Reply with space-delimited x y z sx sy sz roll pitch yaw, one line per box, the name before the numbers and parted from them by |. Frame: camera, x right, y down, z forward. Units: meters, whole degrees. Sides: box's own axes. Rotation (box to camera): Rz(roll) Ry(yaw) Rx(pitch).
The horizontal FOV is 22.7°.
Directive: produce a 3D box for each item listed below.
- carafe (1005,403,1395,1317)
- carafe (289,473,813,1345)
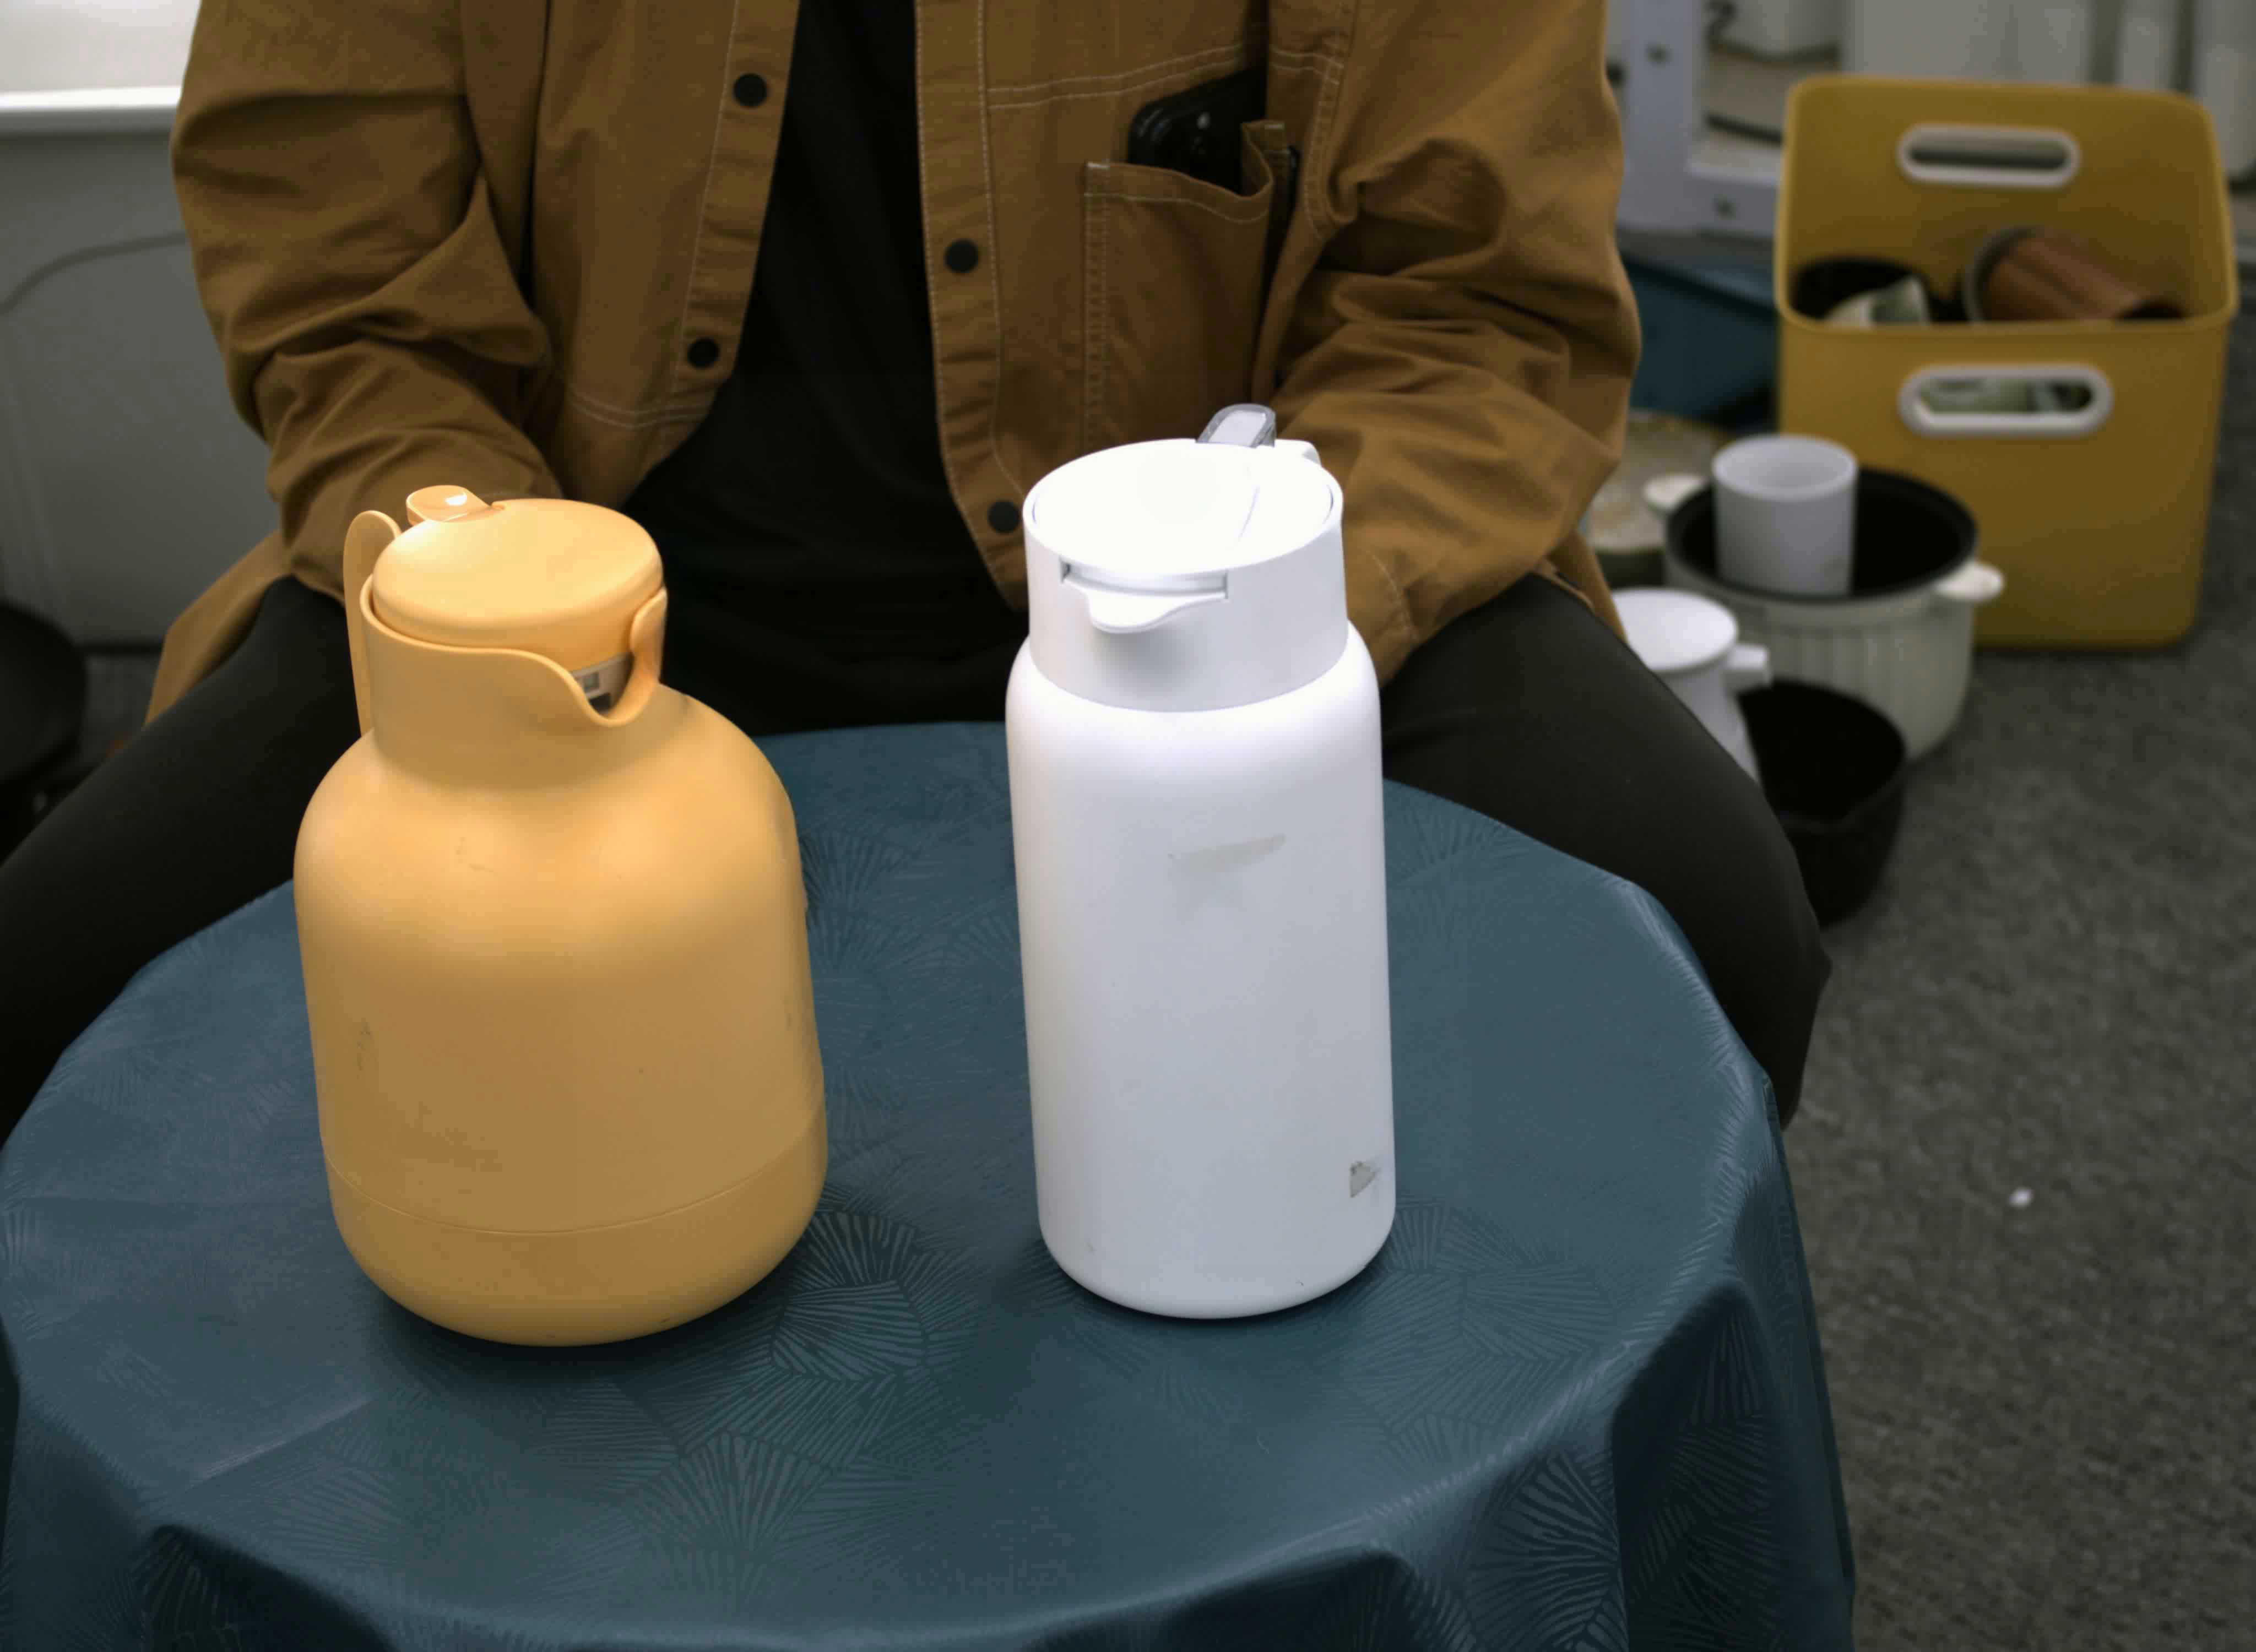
carafe | 0.026 0.007 1.790 0.123 0.266 0.176 3 27 17
carafe | -0.192 0.017 1.798 0.164 0.258 0.203 -13 29 -25
